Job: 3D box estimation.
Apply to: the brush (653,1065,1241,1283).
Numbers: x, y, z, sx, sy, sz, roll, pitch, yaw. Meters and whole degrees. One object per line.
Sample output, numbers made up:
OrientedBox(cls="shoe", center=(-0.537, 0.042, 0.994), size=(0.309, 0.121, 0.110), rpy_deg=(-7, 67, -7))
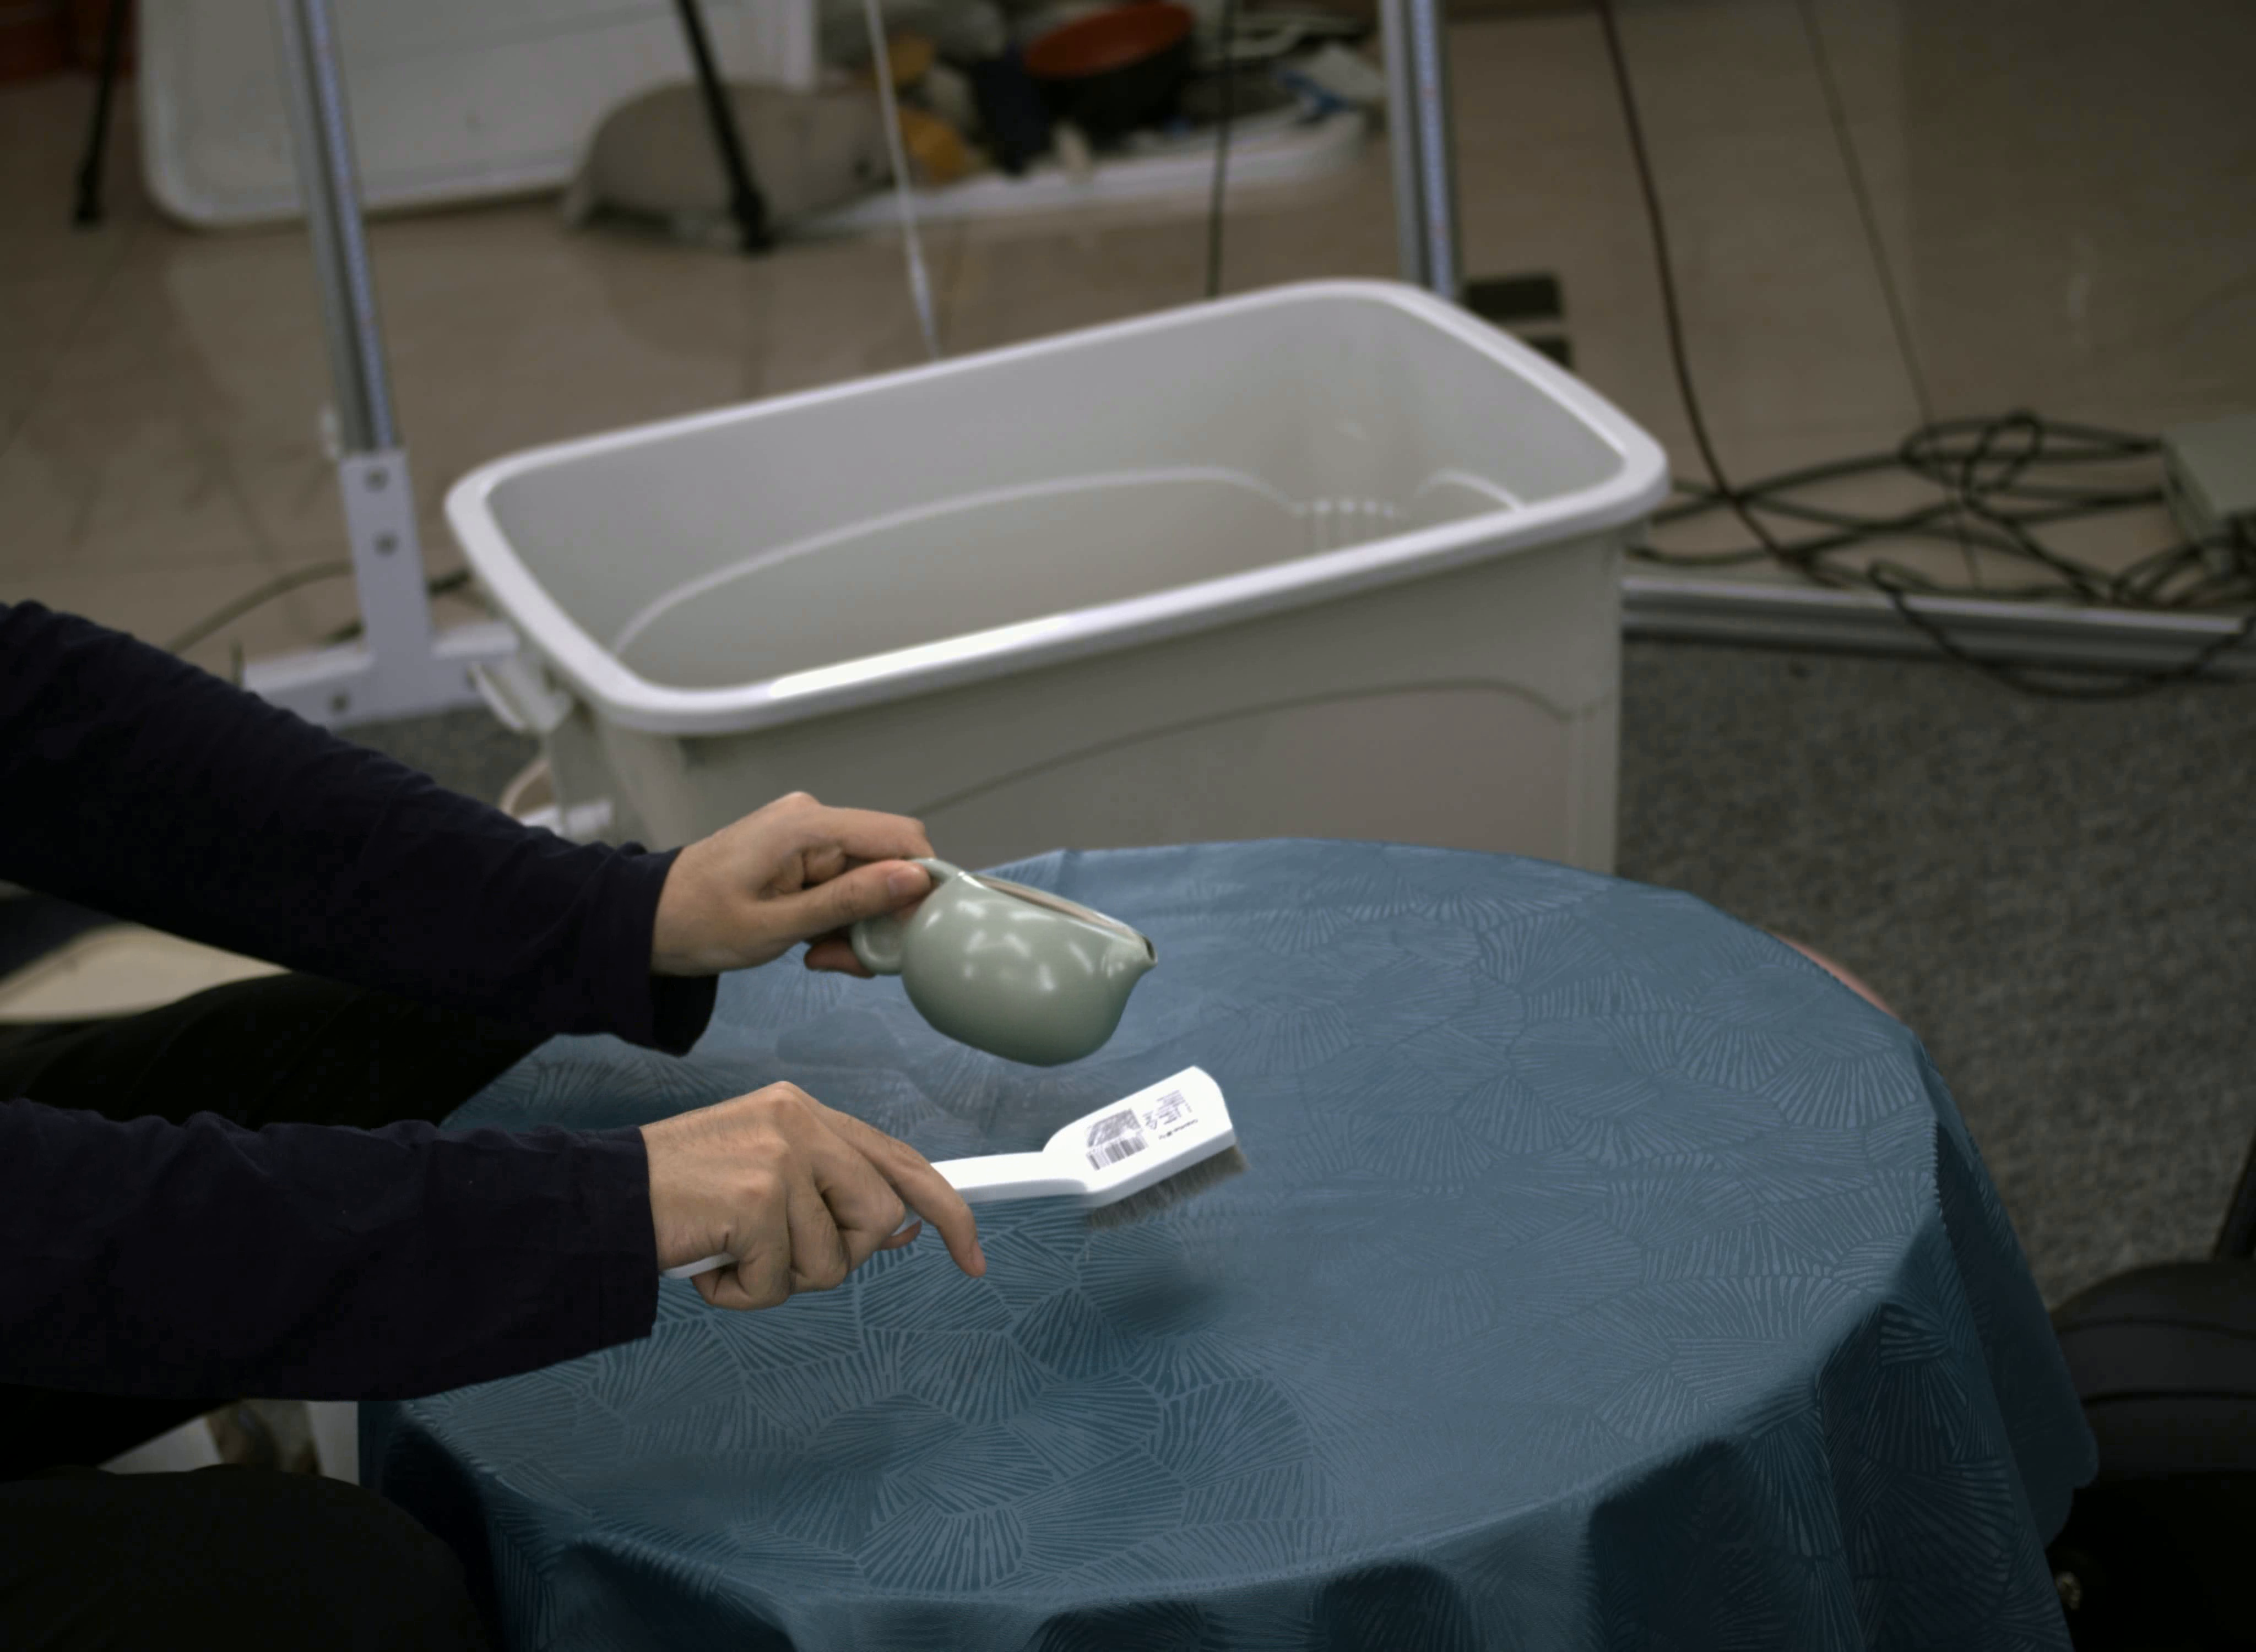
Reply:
OrientedBox(cls="brush", center=(-0.064, 0.136, 2.017), size=(0.242, 0.051, 0.034), rpy_deg=(-15, 53, -30))

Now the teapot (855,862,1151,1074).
OrientedBox(cls="teapot", center=(-0.052, 0.055, 2.190), size=(0.127, 0.061, 0.091), rpy_deg=(22, 12, 28))
